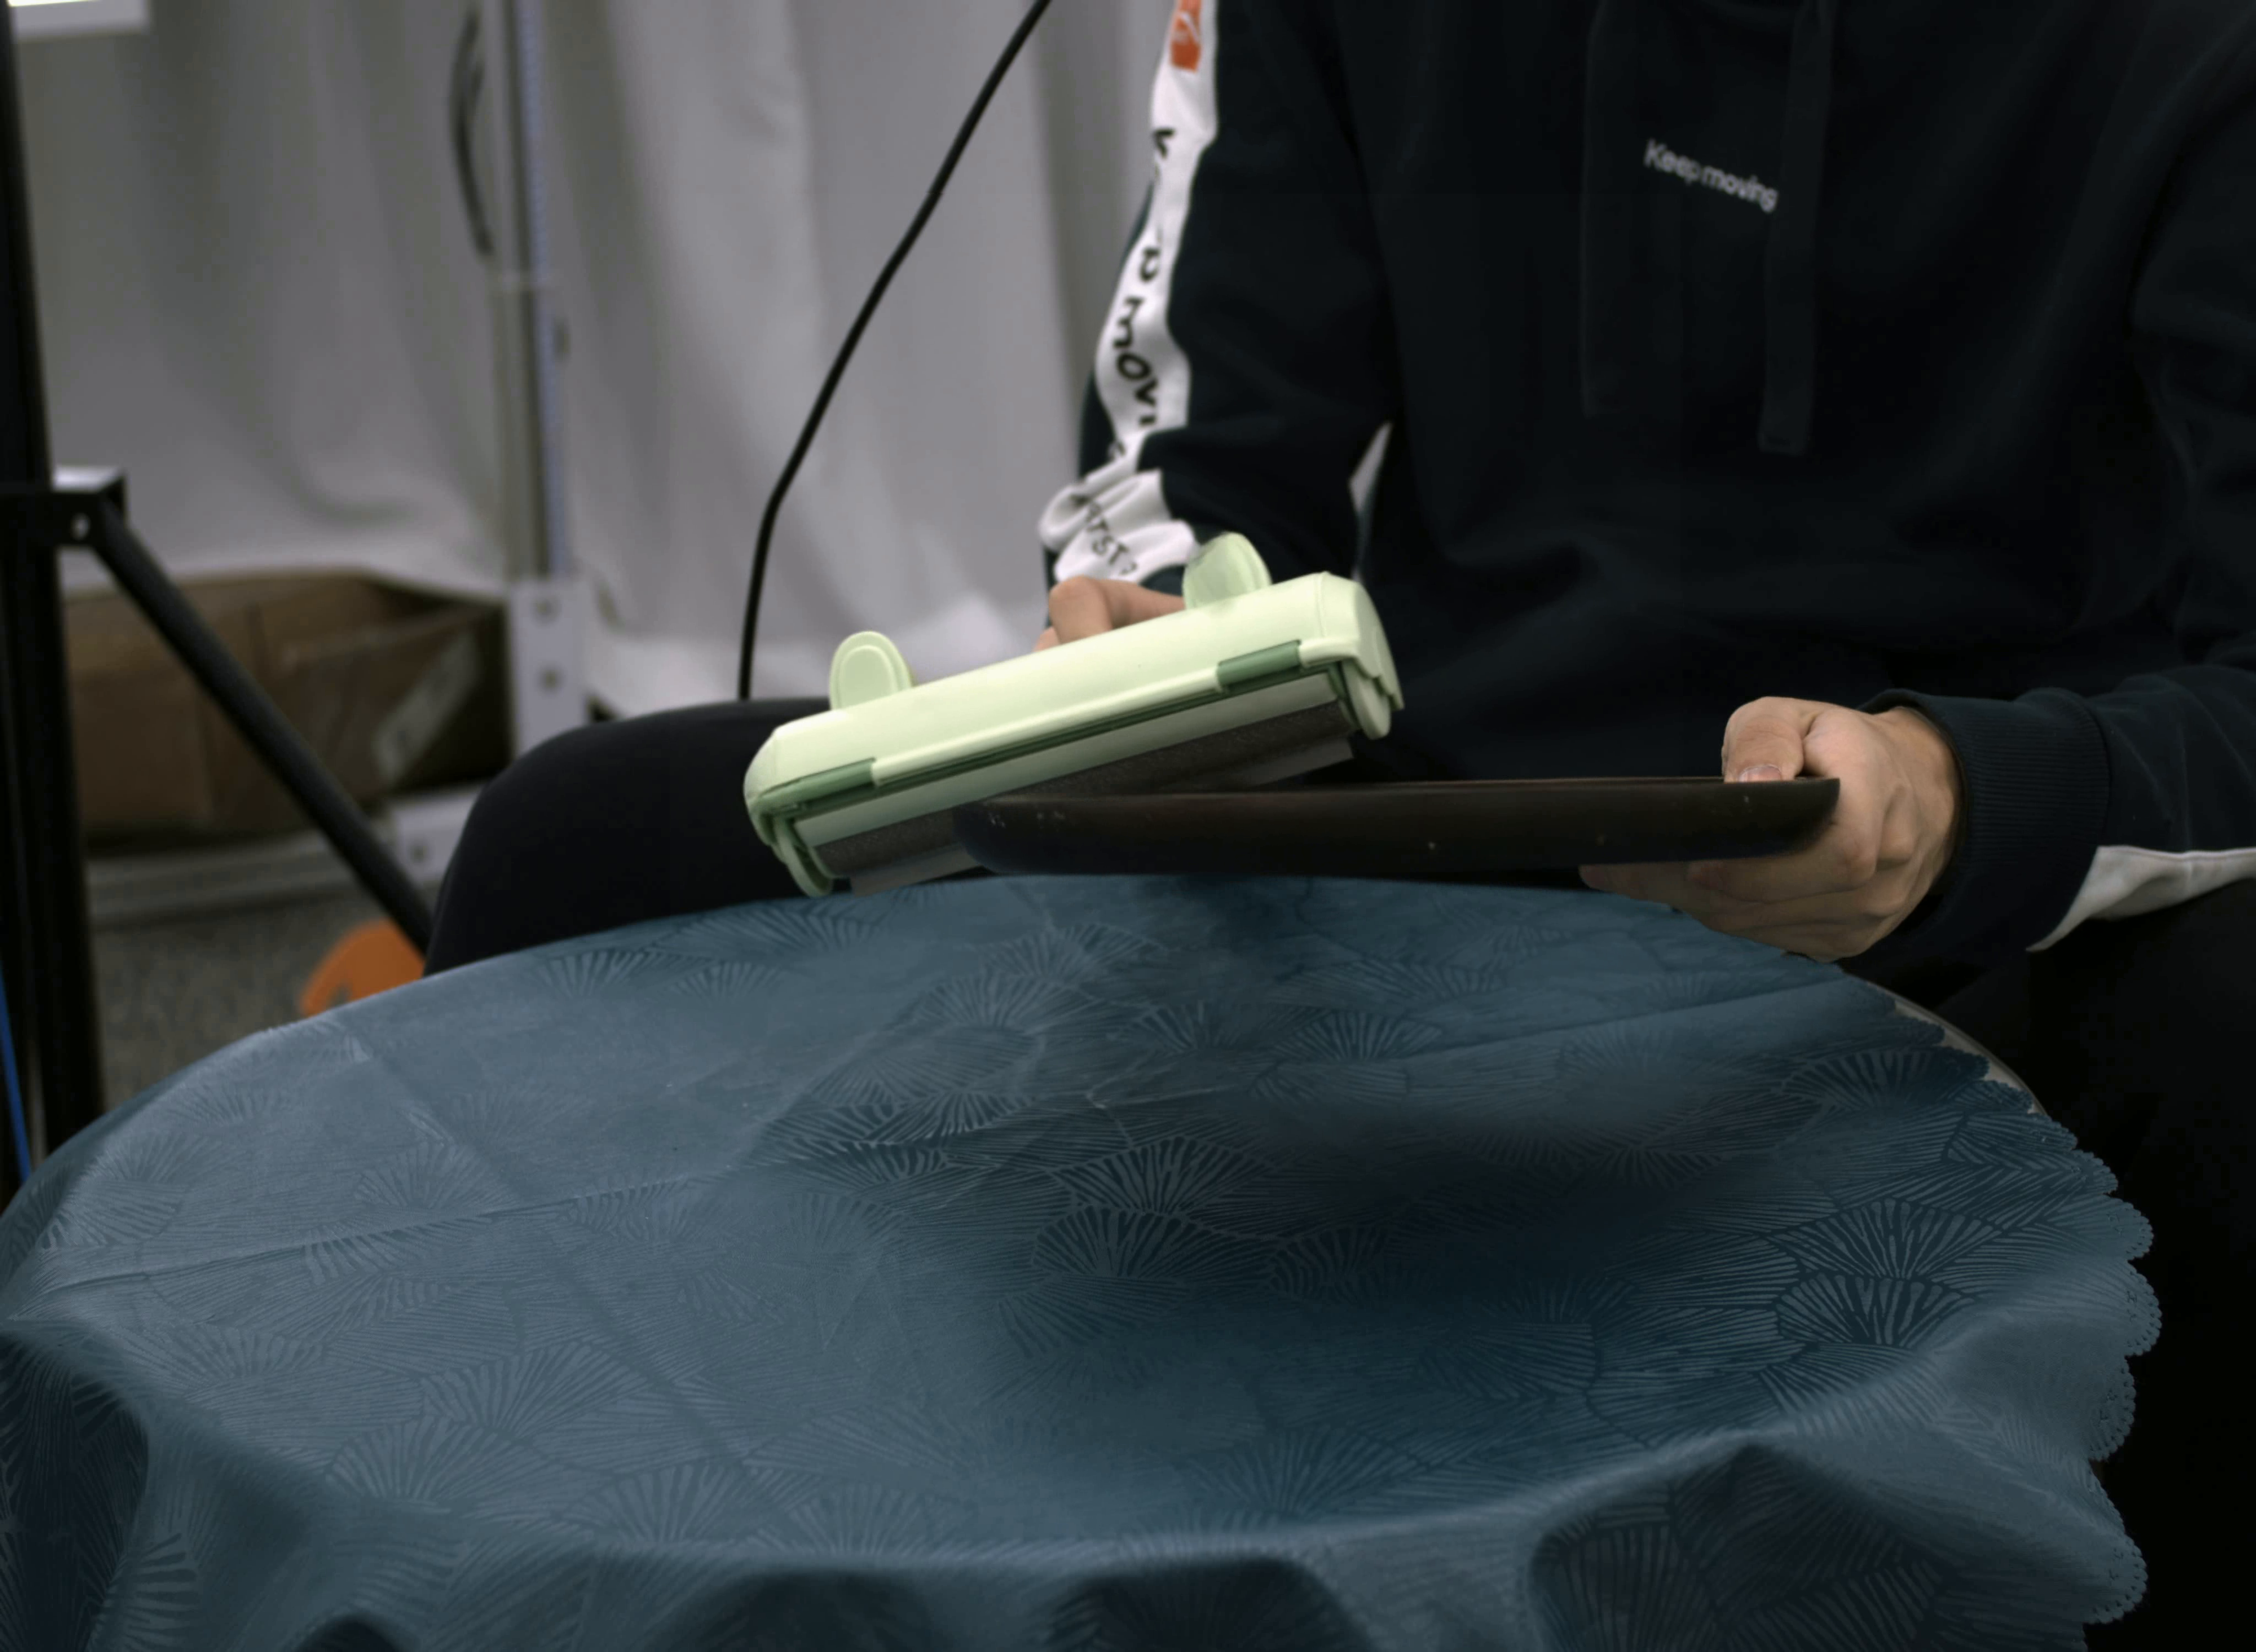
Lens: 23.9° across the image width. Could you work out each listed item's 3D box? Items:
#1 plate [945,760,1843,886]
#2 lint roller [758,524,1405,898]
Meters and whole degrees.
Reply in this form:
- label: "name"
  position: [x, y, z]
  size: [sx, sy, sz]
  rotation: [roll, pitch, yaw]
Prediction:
- label: "plate"
  position: [0.075, 0.000, 1.494]
  size: [0.253, 0.029, 0.255]
  rotation: [-3, 1, -1]
- label: "lint roller"
  position: [-0.009, -0.047, 1.675]
  size: [0.200, 0.082, 0.182]
  rotation: [-16, 10, 14]
